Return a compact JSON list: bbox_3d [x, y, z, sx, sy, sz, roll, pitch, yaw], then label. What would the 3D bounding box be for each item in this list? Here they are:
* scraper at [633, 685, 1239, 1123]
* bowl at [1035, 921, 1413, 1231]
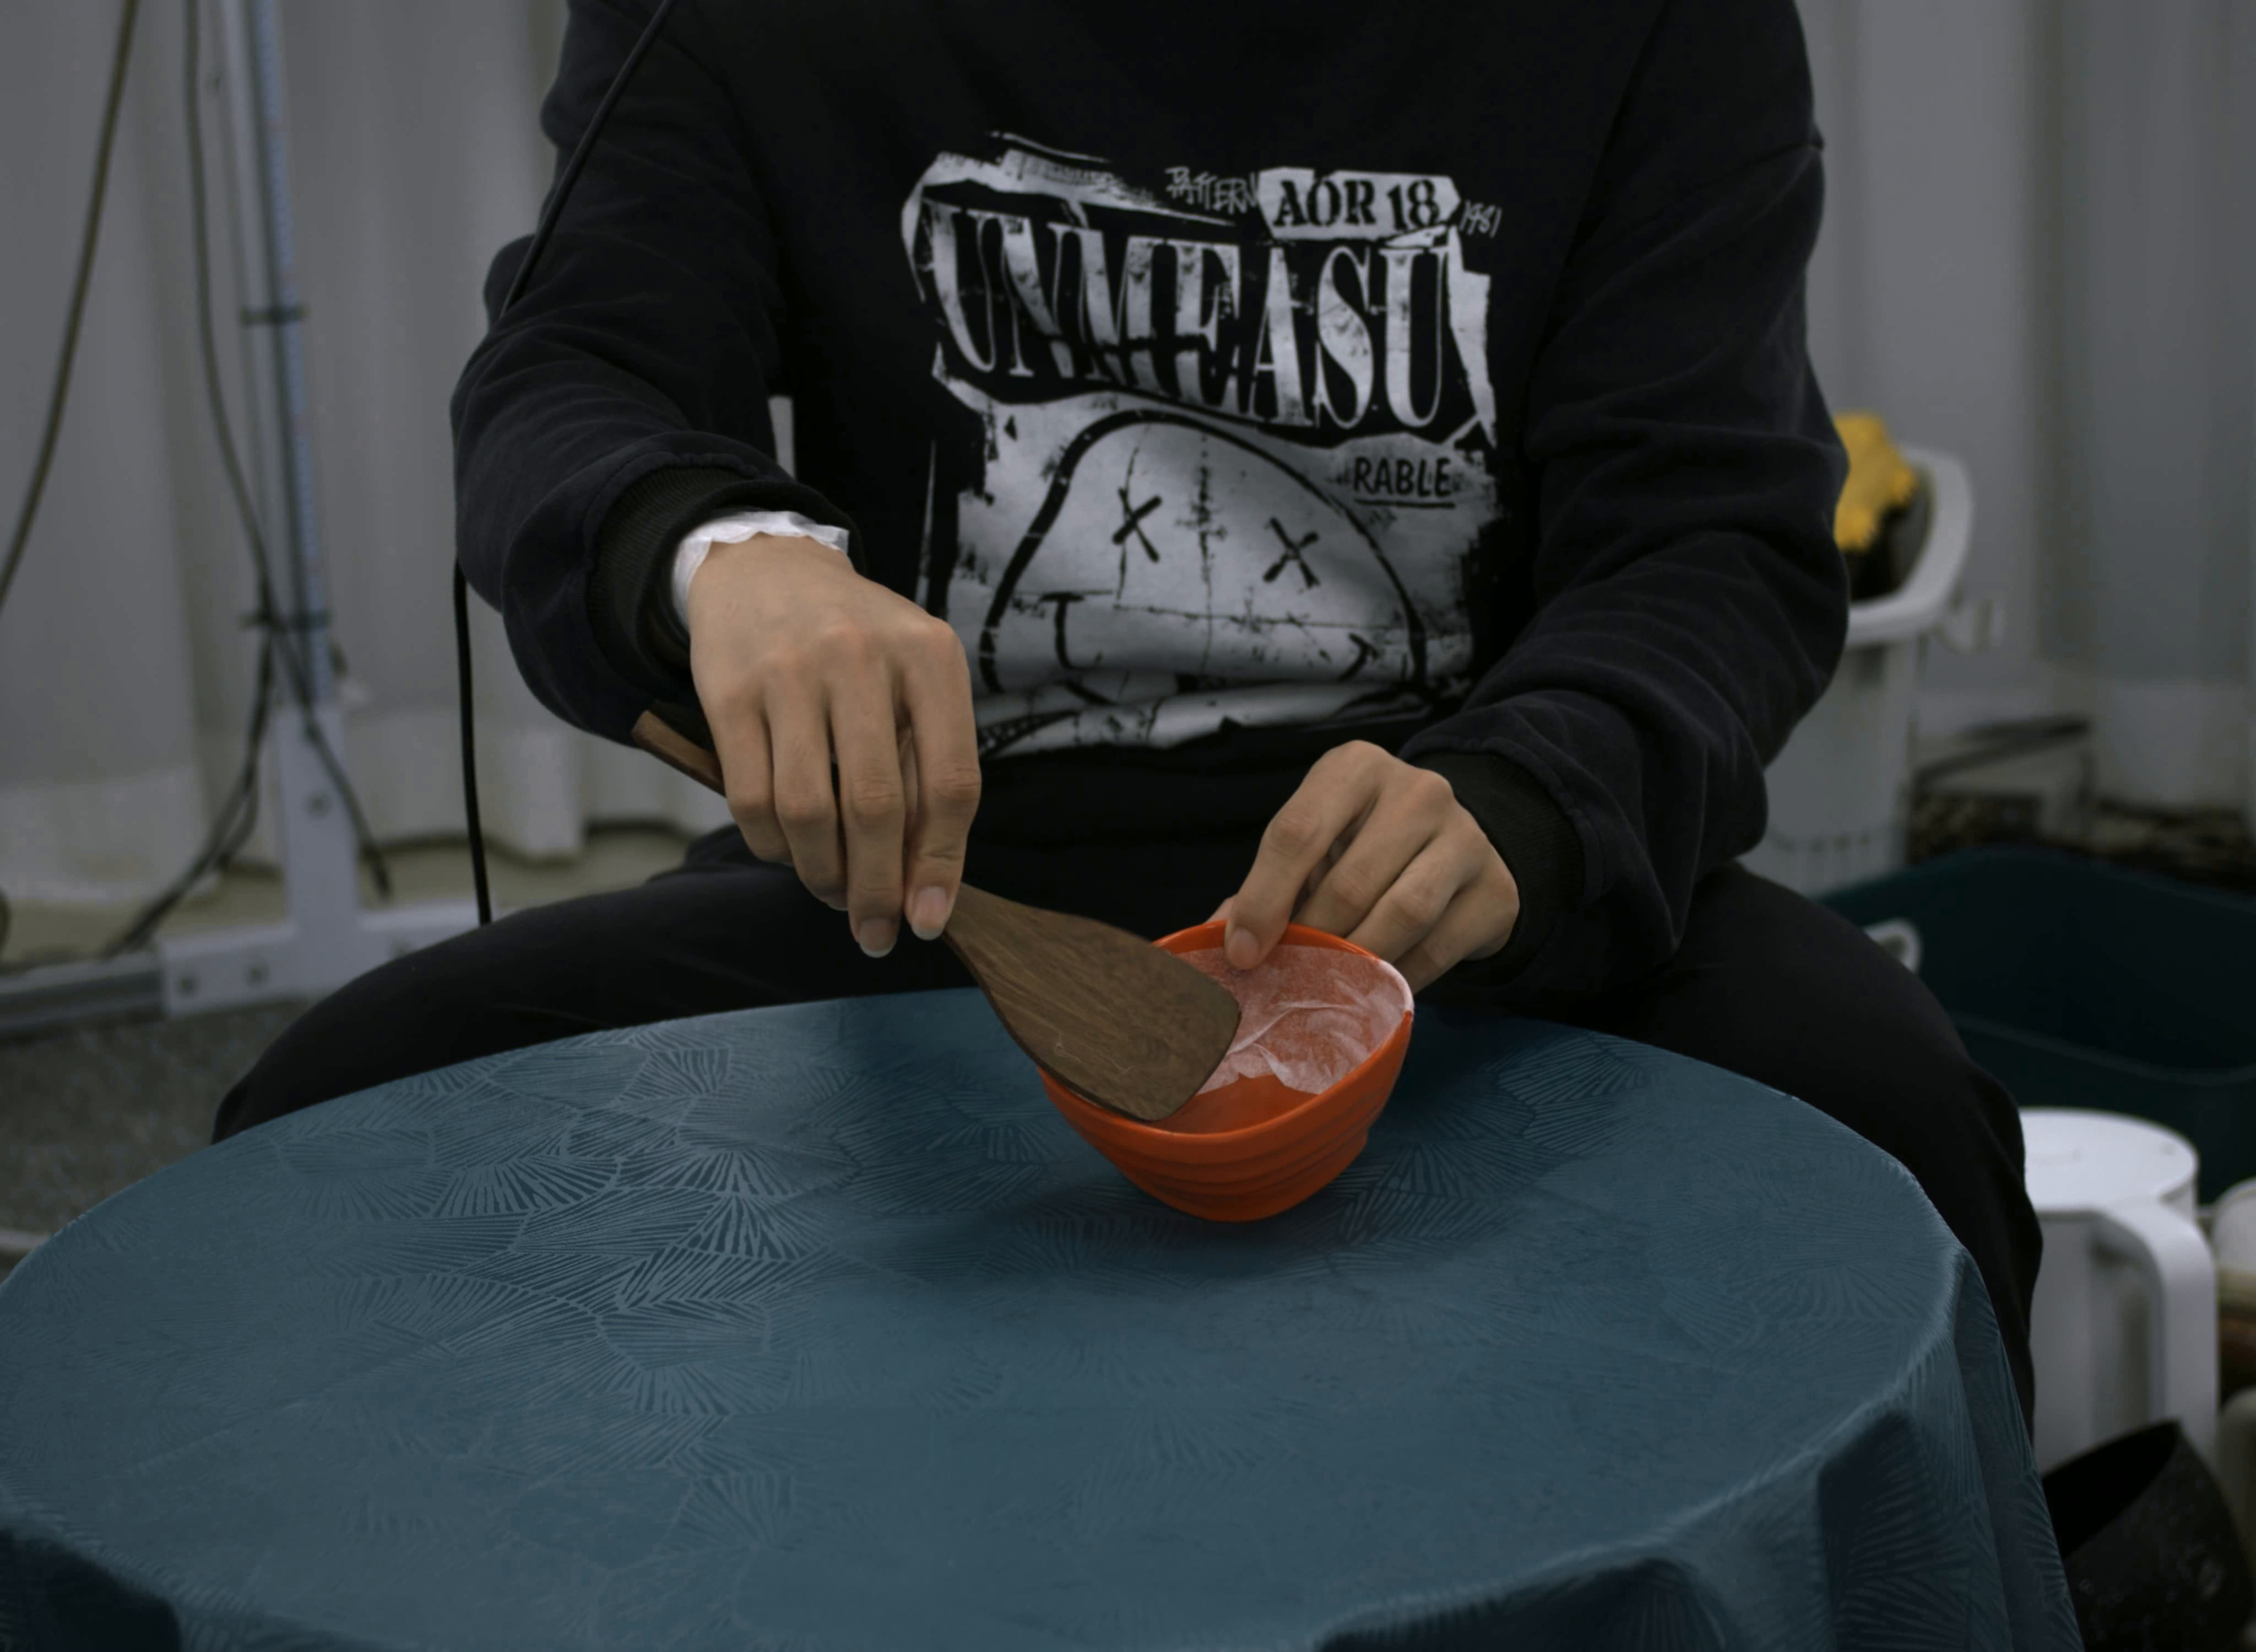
[{"bbox_3d":[-0.063,0.020,1.686,0.211,0.011,0.076,34,38,6],"label":"scraper"},{"bbox_3d":[0.034,0.083,1.698,0.118,0.051,0.120,-9,32,6],"label":"bowl"}]
